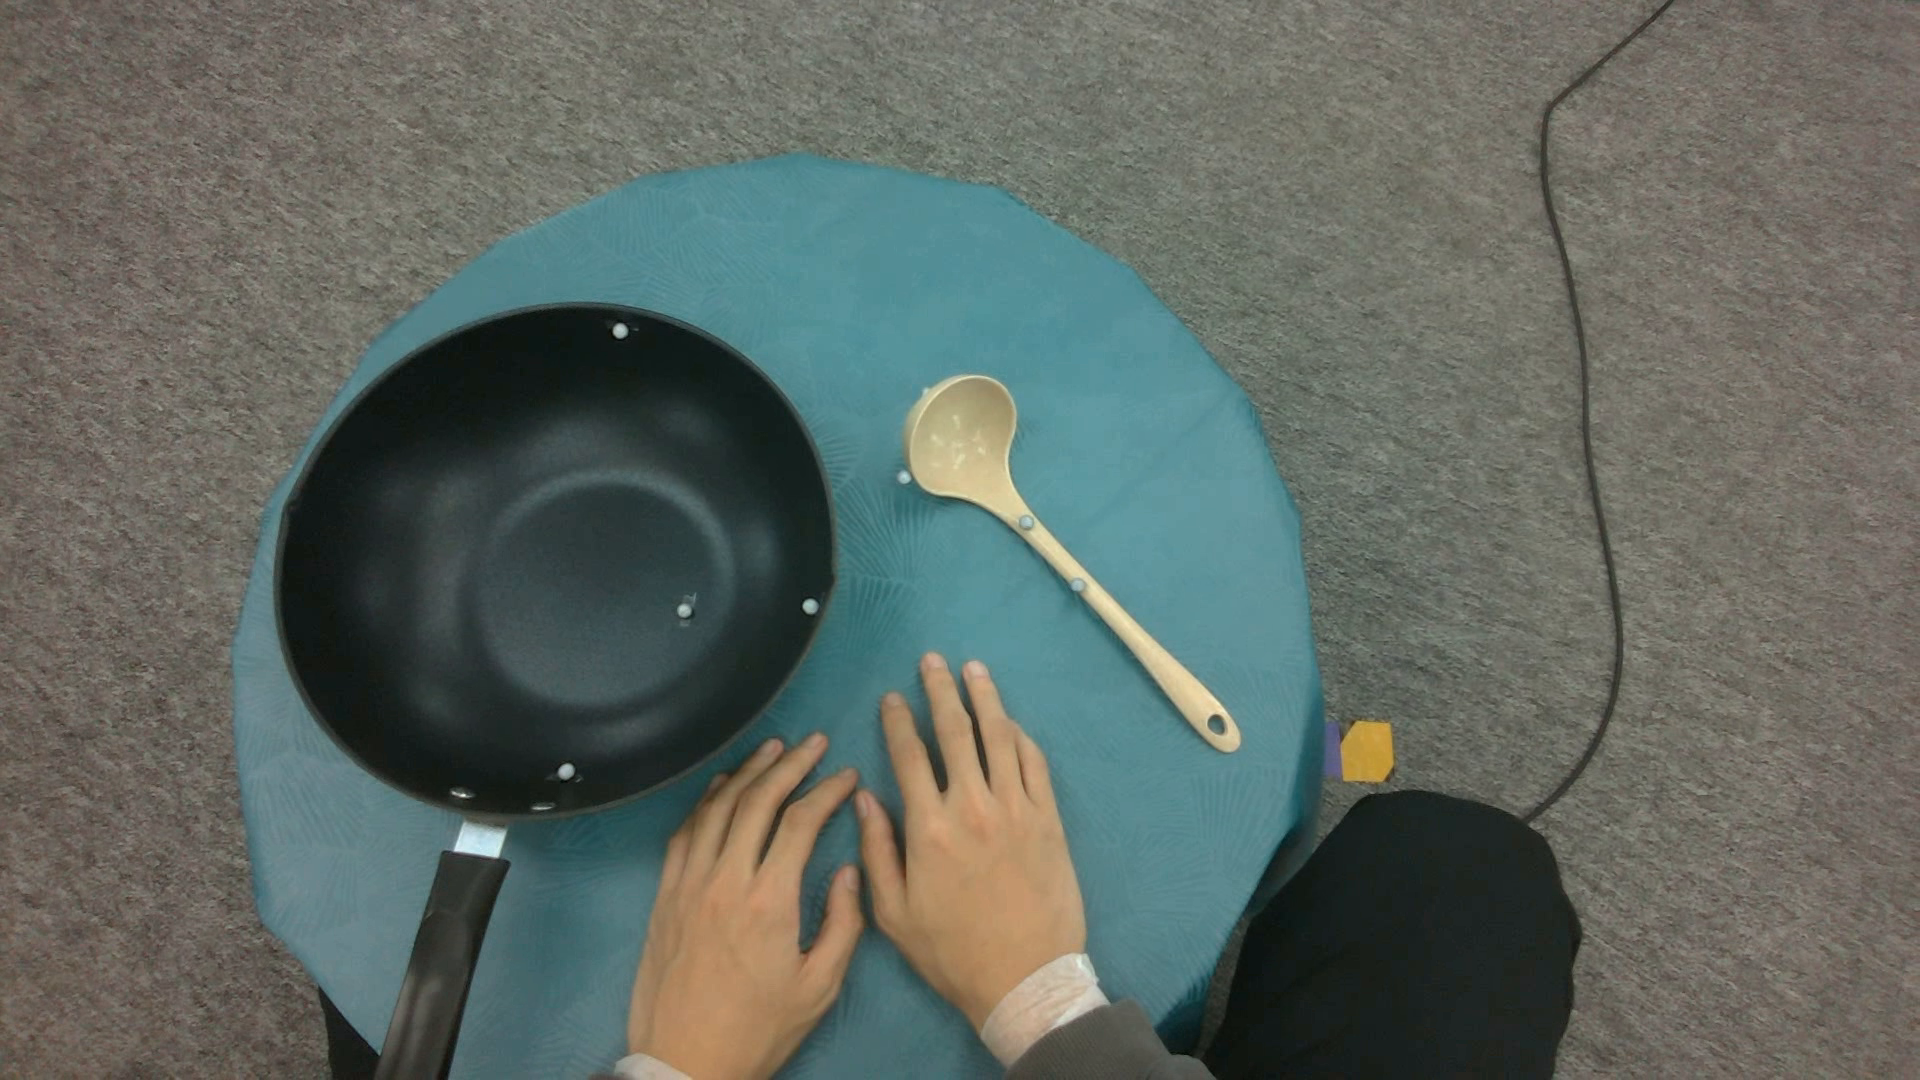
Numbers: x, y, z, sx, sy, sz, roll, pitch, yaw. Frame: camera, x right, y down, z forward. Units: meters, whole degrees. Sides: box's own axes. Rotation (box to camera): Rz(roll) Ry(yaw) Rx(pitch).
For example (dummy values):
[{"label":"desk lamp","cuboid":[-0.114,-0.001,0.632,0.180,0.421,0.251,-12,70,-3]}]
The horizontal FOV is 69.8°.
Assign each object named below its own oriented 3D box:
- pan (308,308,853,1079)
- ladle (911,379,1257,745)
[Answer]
[{"label":"pan","cuboid":[-0.212,0.102,0.720,0.288,0.086,0.465,9,71,4]},{"label":"ladle","cuboid":[0.073,0.011,0.753,0.072,0.072,0.254,-41,73,-15]}]
